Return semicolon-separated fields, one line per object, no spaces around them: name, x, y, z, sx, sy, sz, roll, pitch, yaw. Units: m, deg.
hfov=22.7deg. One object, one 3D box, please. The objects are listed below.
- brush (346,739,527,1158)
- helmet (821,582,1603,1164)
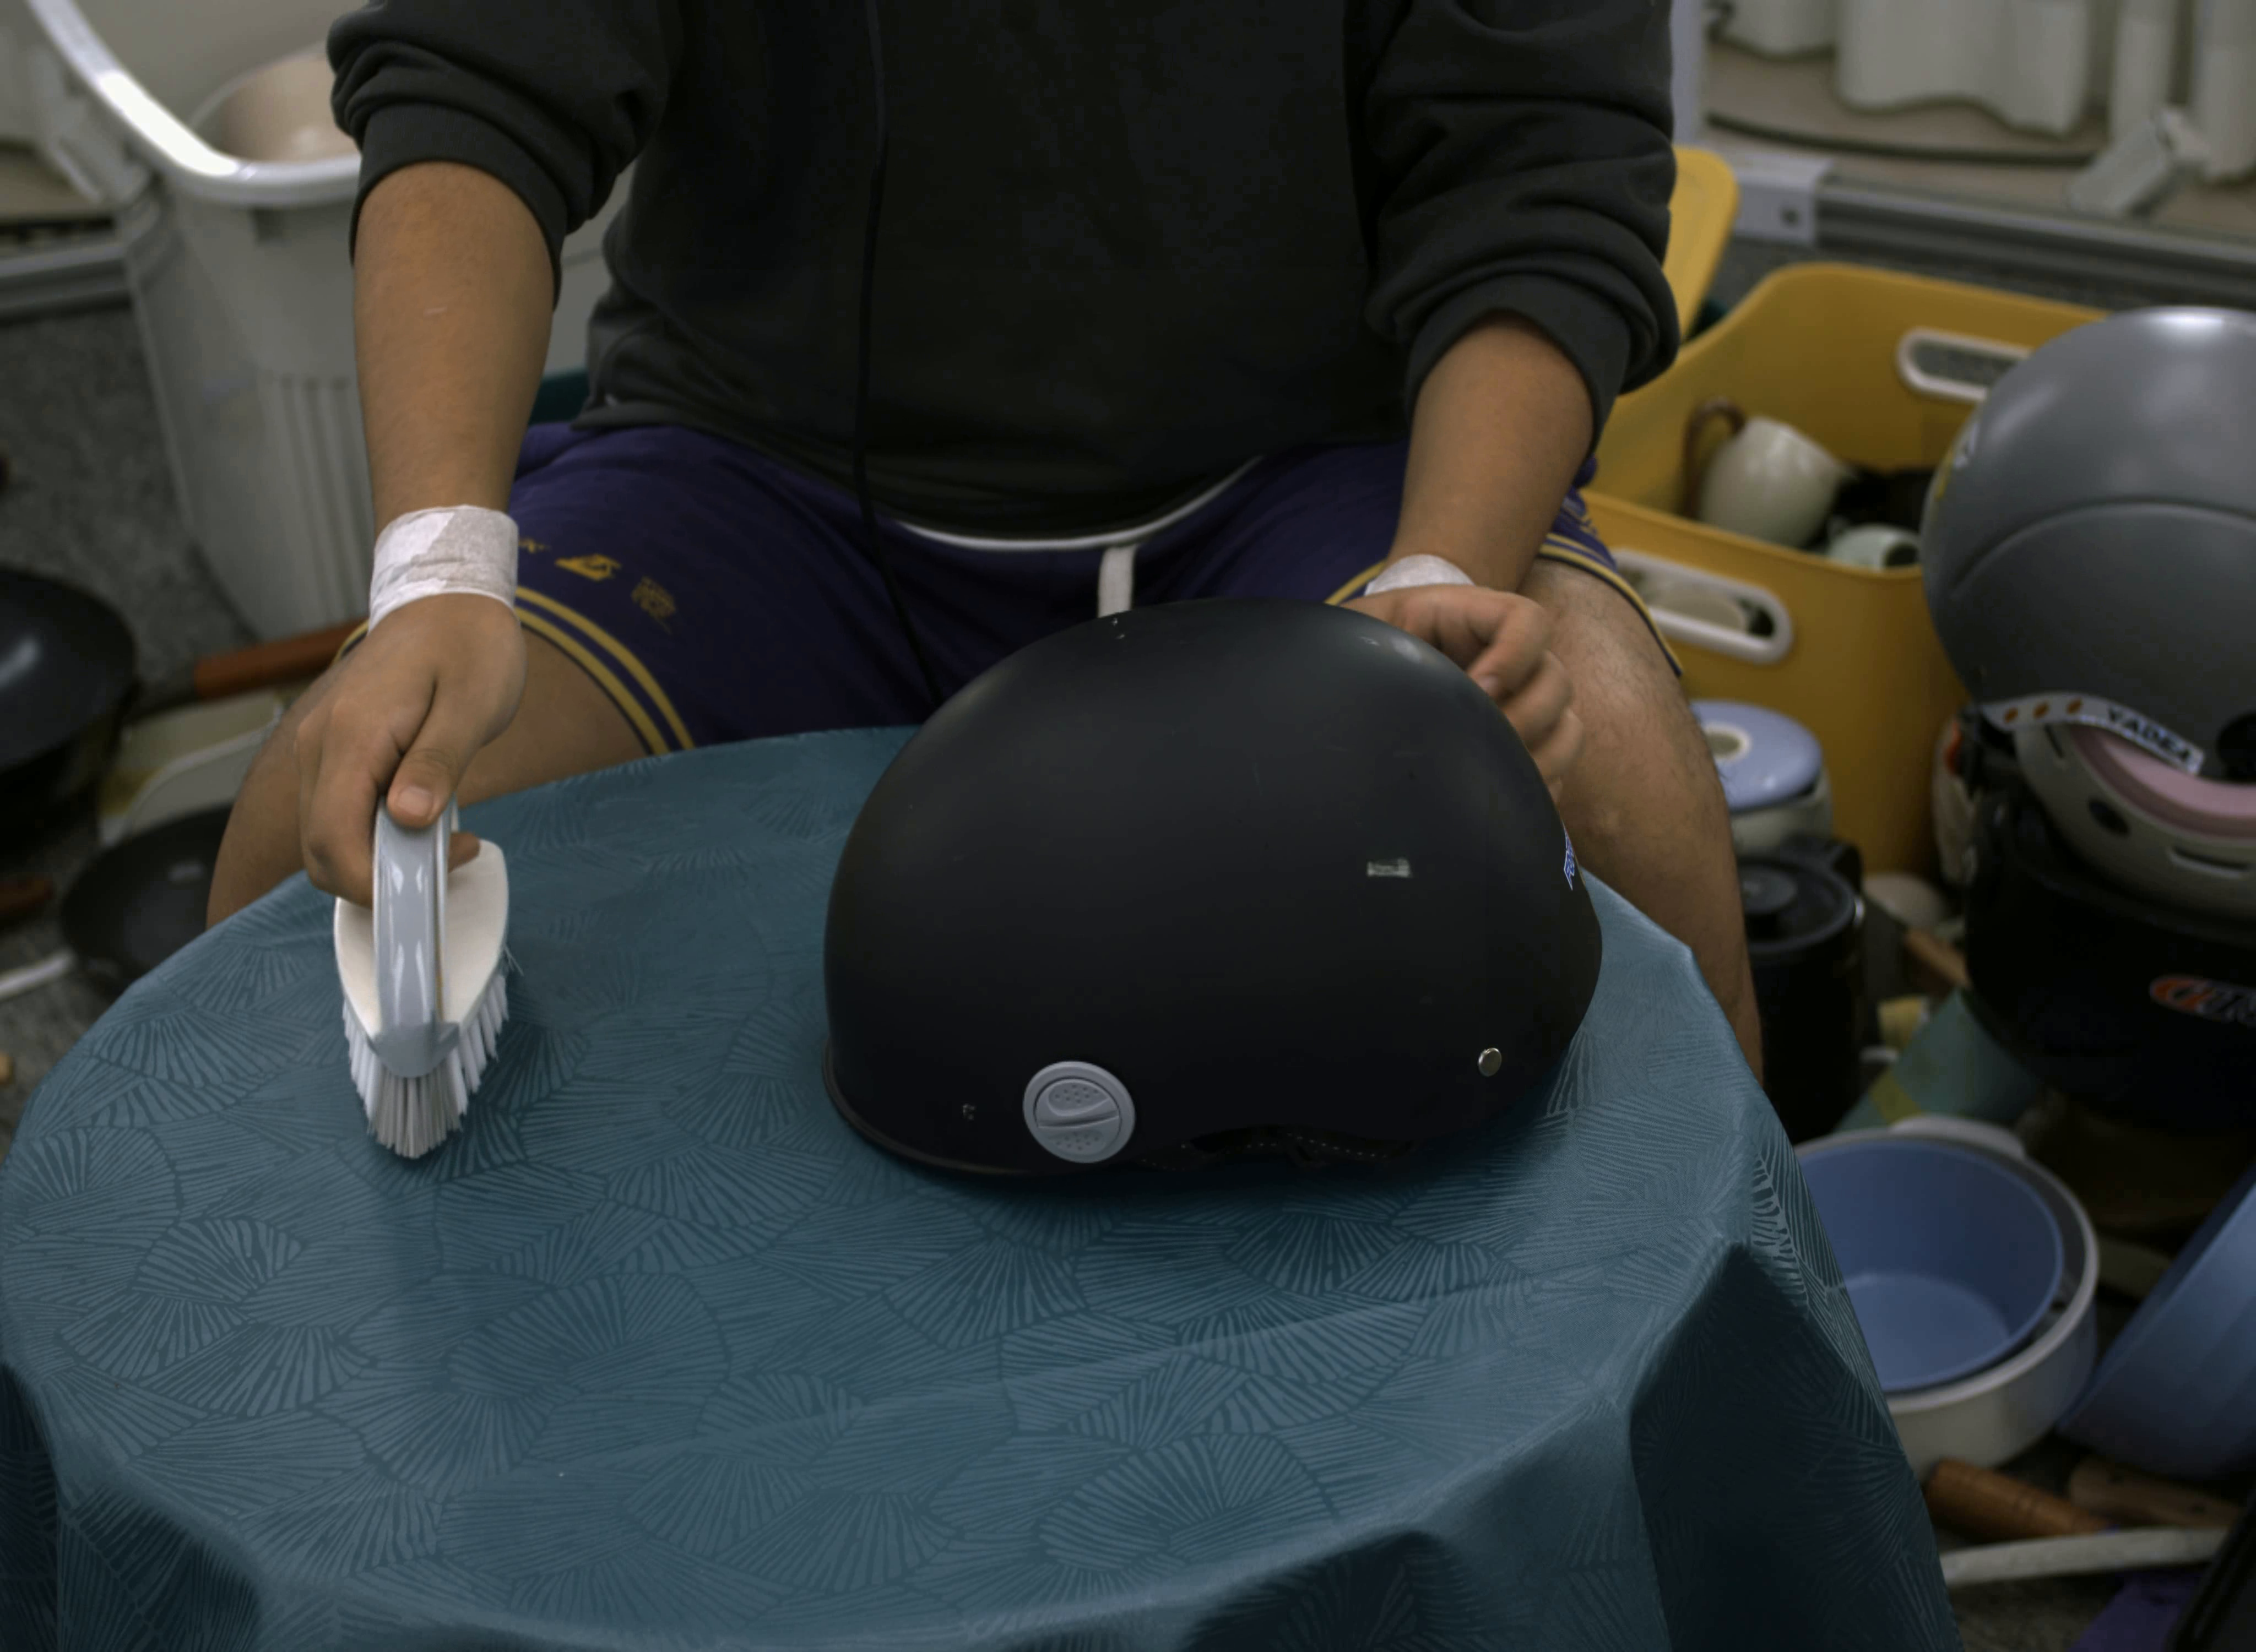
brush;-0.244;0.035;1.954;0.061;0.093;0.178;-2;29;0
helmet;0.023;0.006;1.912;0.271;0.165;0.233;-3;27;5
